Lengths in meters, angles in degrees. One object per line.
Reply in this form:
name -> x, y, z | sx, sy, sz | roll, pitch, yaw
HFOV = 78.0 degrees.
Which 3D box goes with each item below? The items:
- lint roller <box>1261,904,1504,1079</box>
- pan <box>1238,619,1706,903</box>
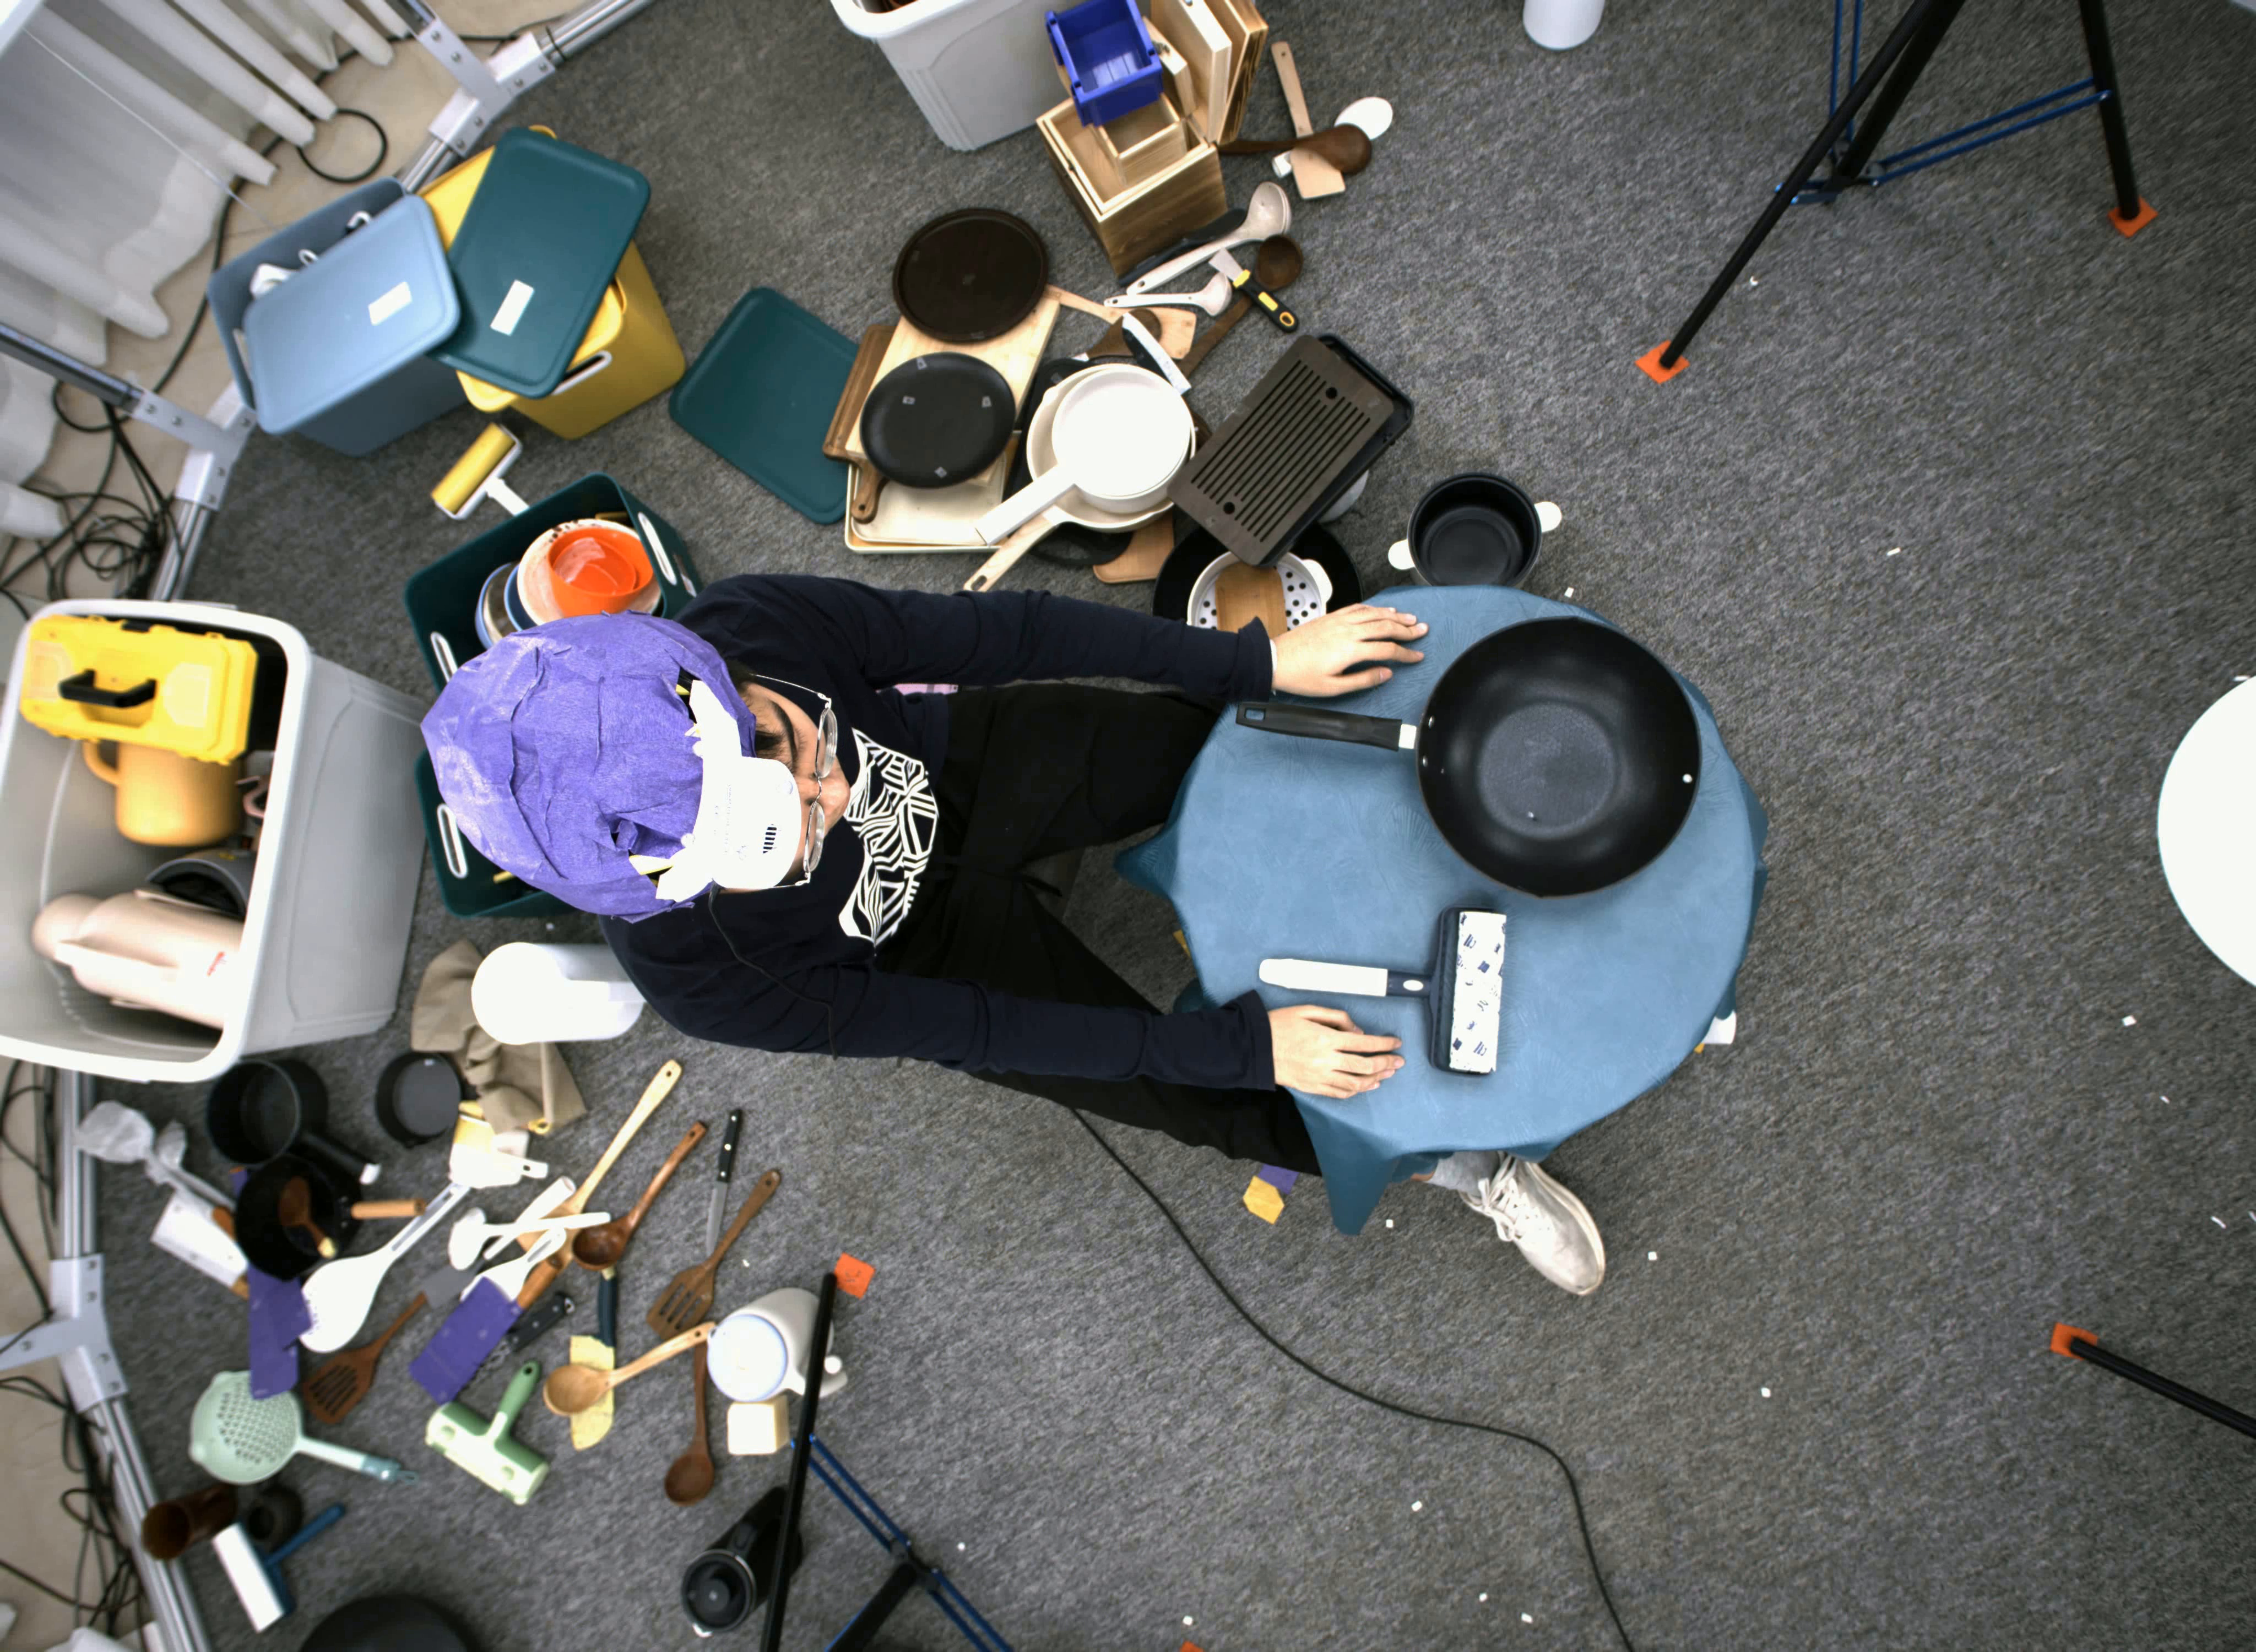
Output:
lint roller -> 0.259, 0.162, 1.437 | 0.248, 0.050, 0.176 | 4, 89, 15
pan -> 0.344, -0.080, 1.412 | 0.464, 0.087, 0.287 | 9, 89, 12
